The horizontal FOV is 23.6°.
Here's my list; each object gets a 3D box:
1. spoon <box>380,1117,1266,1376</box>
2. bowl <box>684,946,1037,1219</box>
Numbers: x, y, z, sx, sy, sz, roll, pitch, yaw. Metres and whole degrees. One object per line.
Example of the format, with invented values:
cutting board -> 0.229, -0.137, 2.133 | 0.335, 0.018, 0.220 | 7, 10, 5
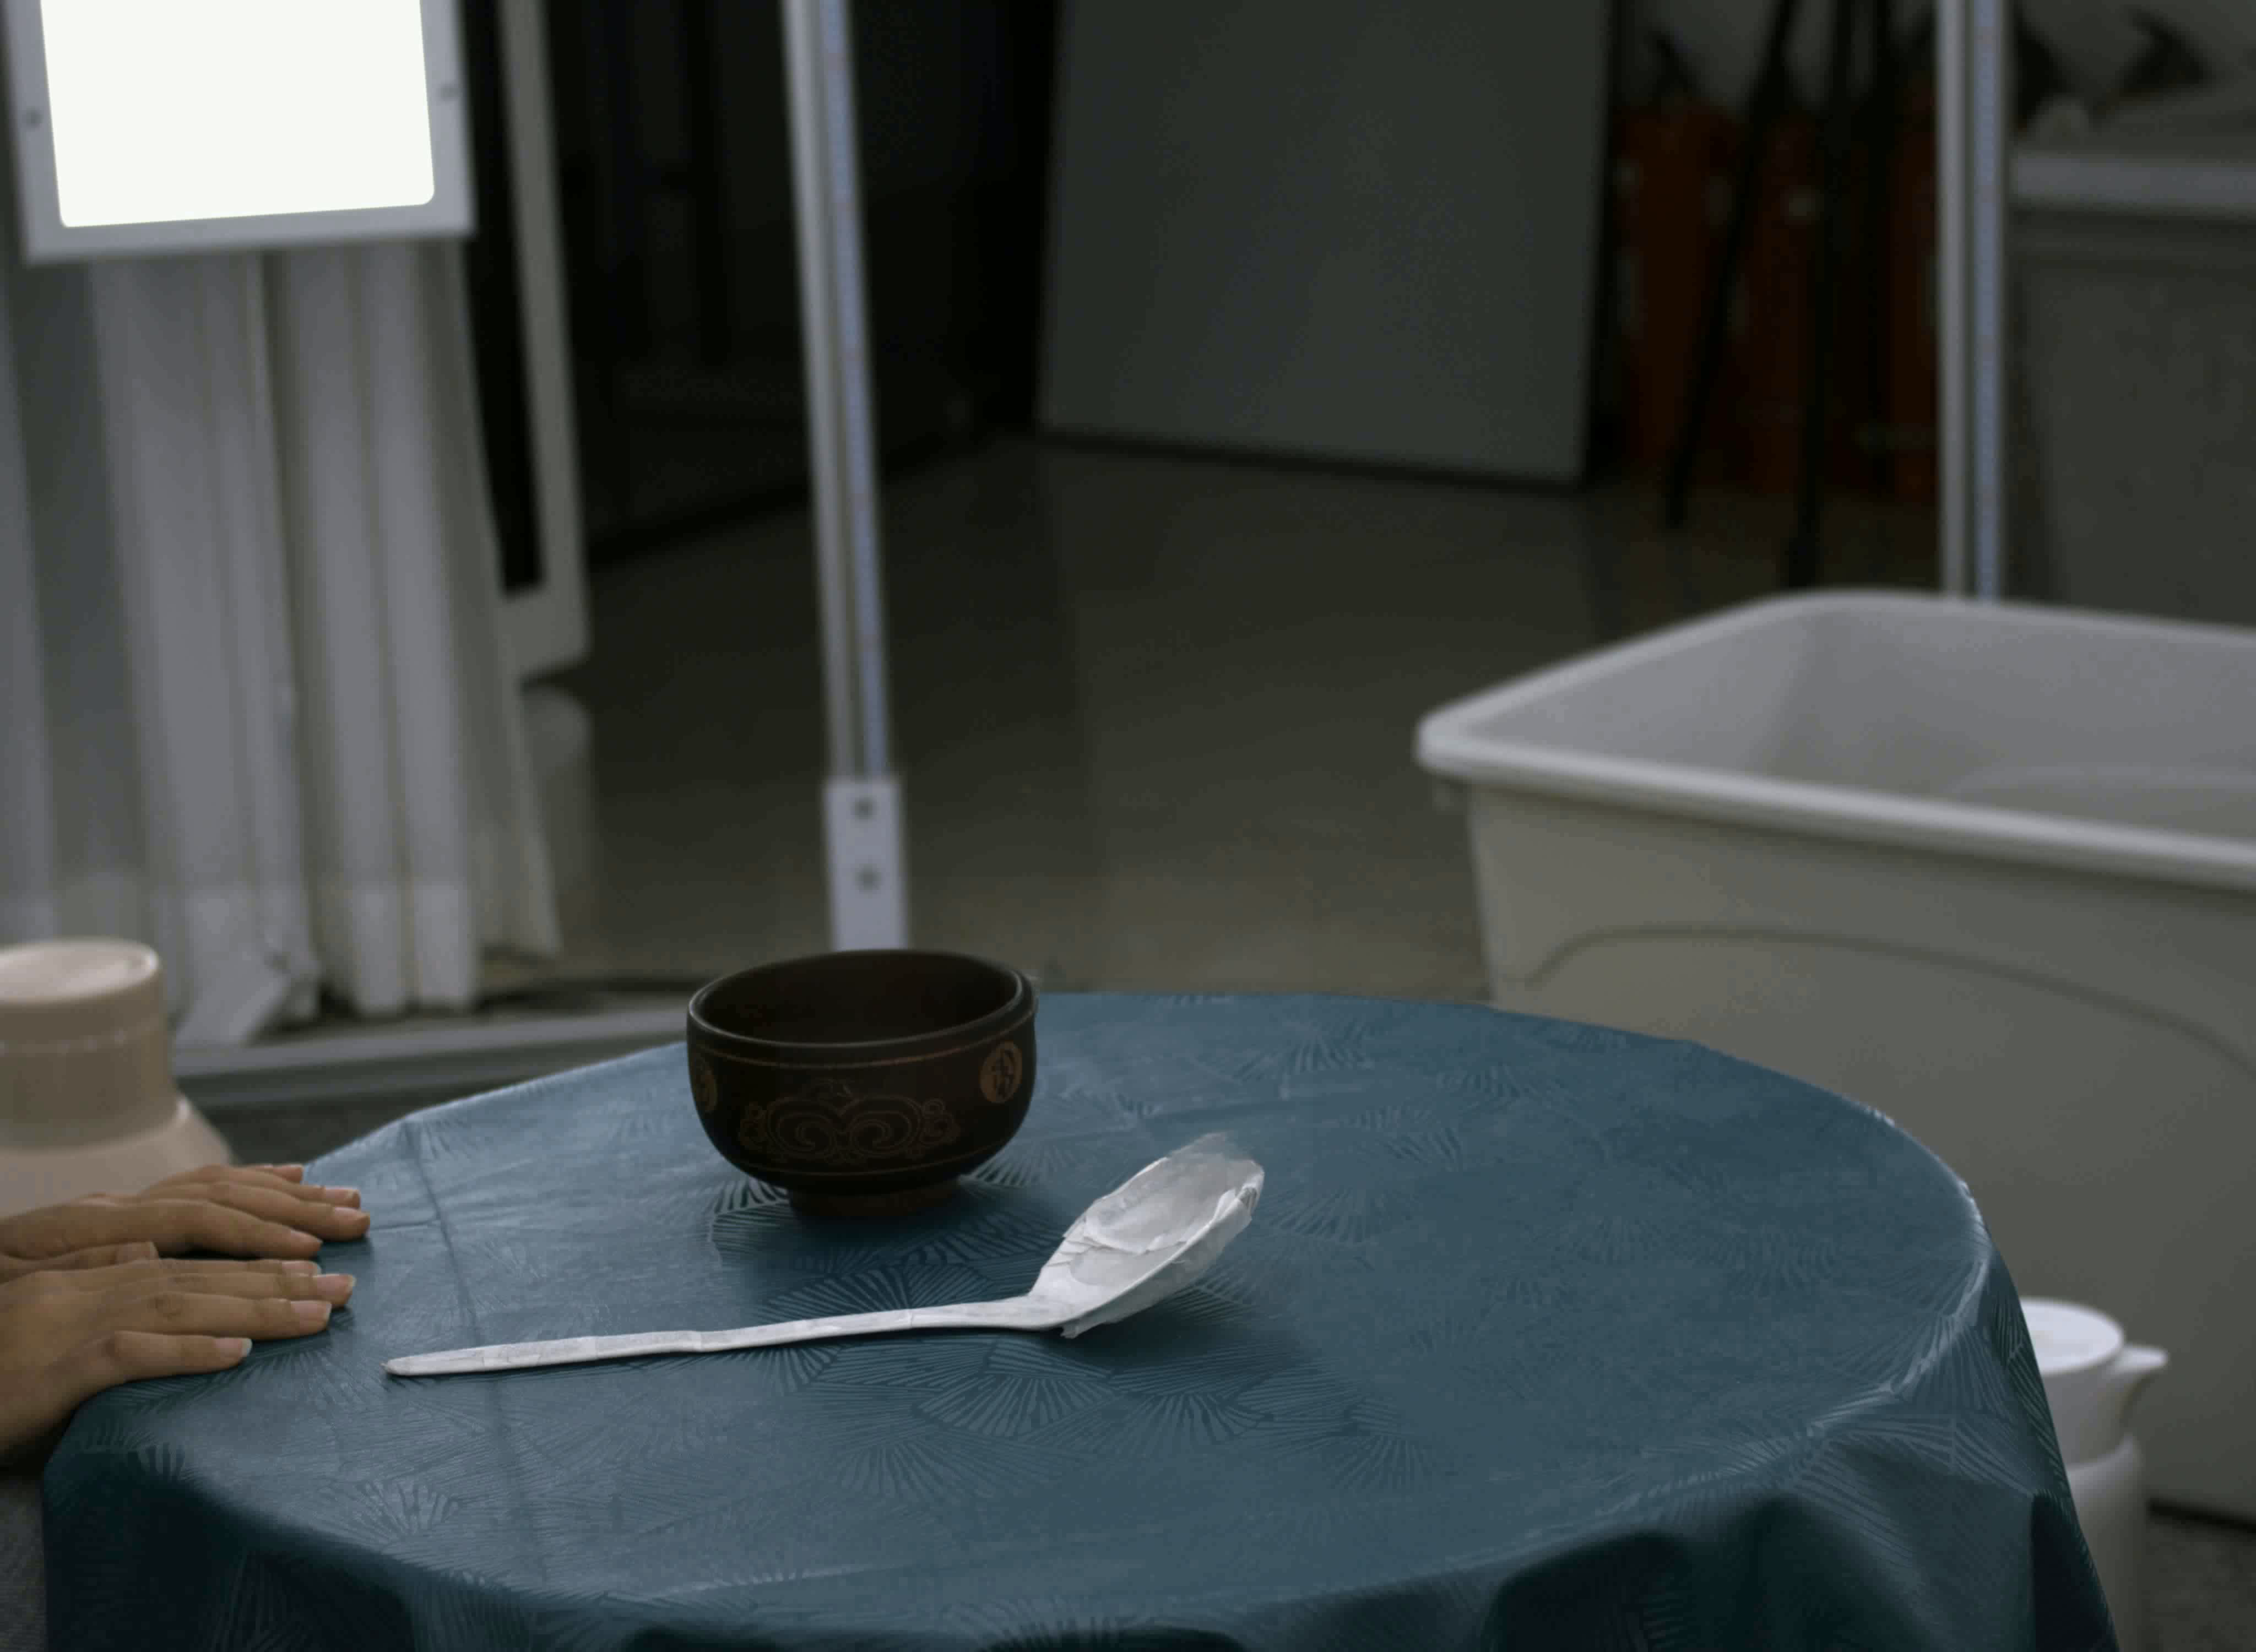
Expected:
spoon -> -0.093, 0.128, 1.651 | 0.274, 0.060, 0.101 | -4, 10, 1
bowl -> -0.087, 0.088, 1.778 | 0.116, 0.070, 0.118 | -4, 13, 0
